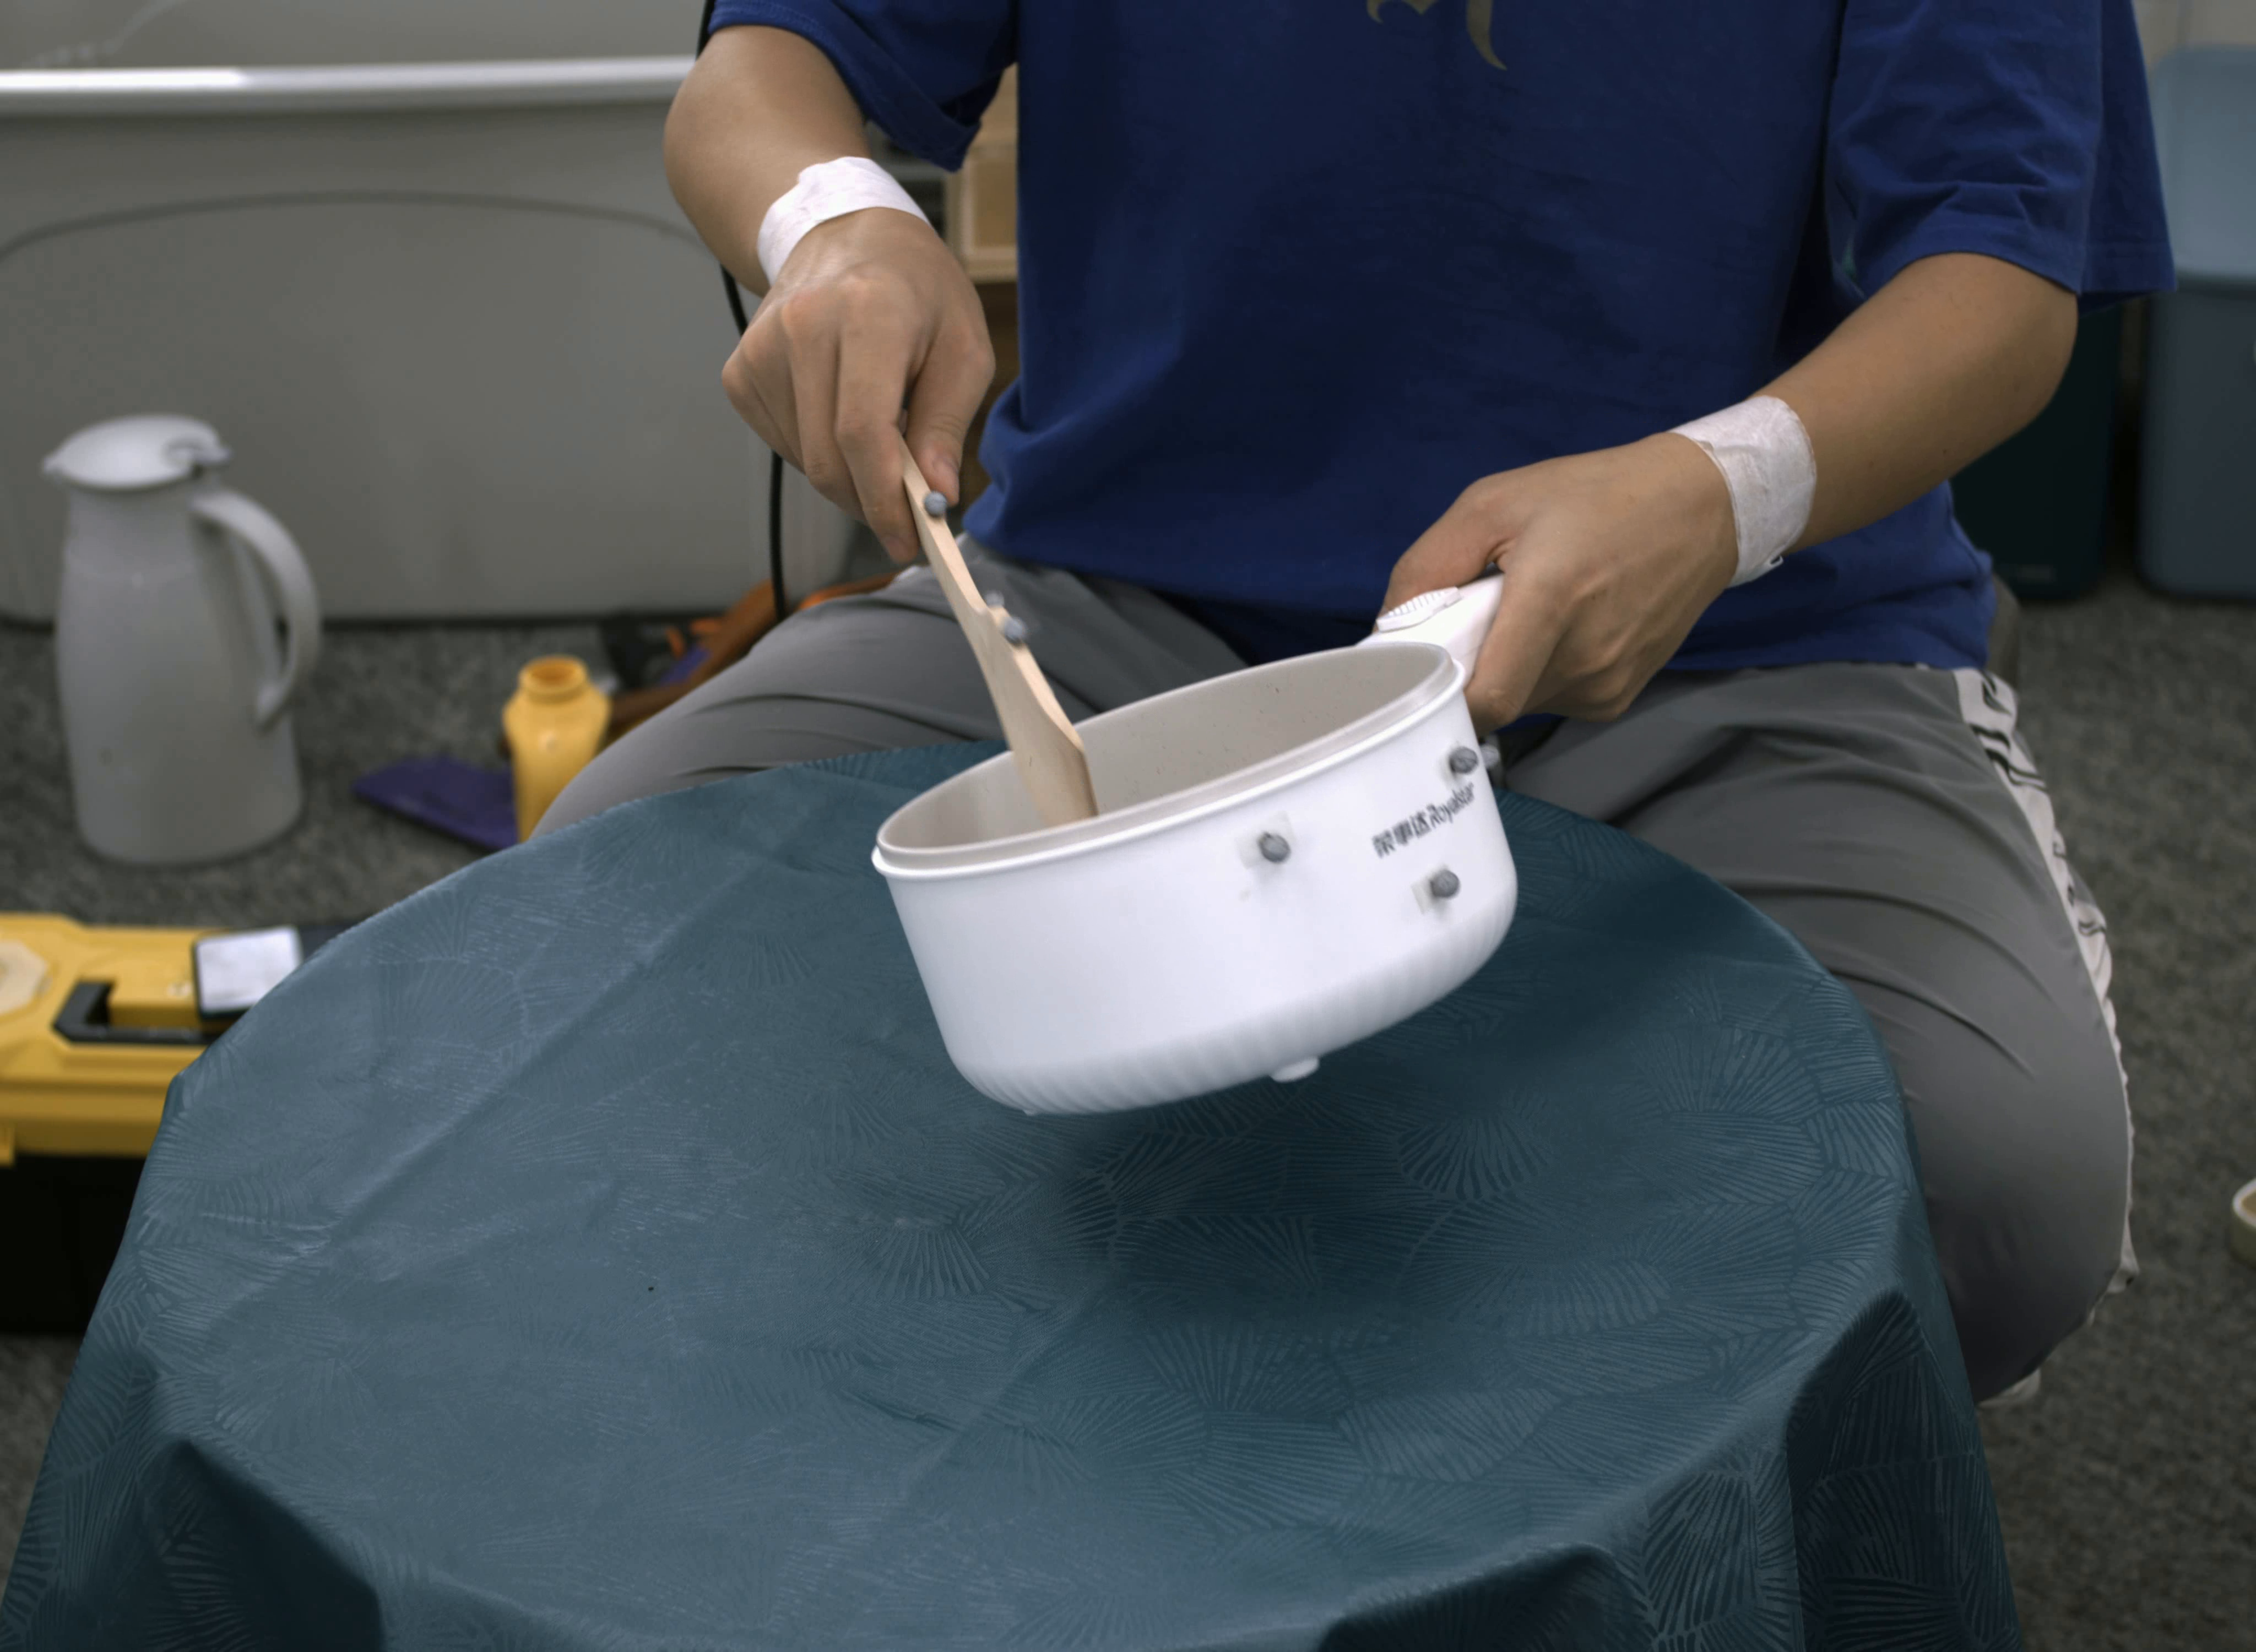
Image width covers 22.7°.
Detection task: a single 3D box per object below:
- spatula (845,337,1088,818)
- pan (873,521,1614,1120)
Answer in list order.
[{"bbox_3d":[-0.057,-0.081,1.886,0.010,0.071,0.297,-13,39,-10],"label":"spatula"},{"bbox_3d":[0.068,-0.004,1.883,0.198,0.102,0.359,-14,11,38],"label":"pan"}]
